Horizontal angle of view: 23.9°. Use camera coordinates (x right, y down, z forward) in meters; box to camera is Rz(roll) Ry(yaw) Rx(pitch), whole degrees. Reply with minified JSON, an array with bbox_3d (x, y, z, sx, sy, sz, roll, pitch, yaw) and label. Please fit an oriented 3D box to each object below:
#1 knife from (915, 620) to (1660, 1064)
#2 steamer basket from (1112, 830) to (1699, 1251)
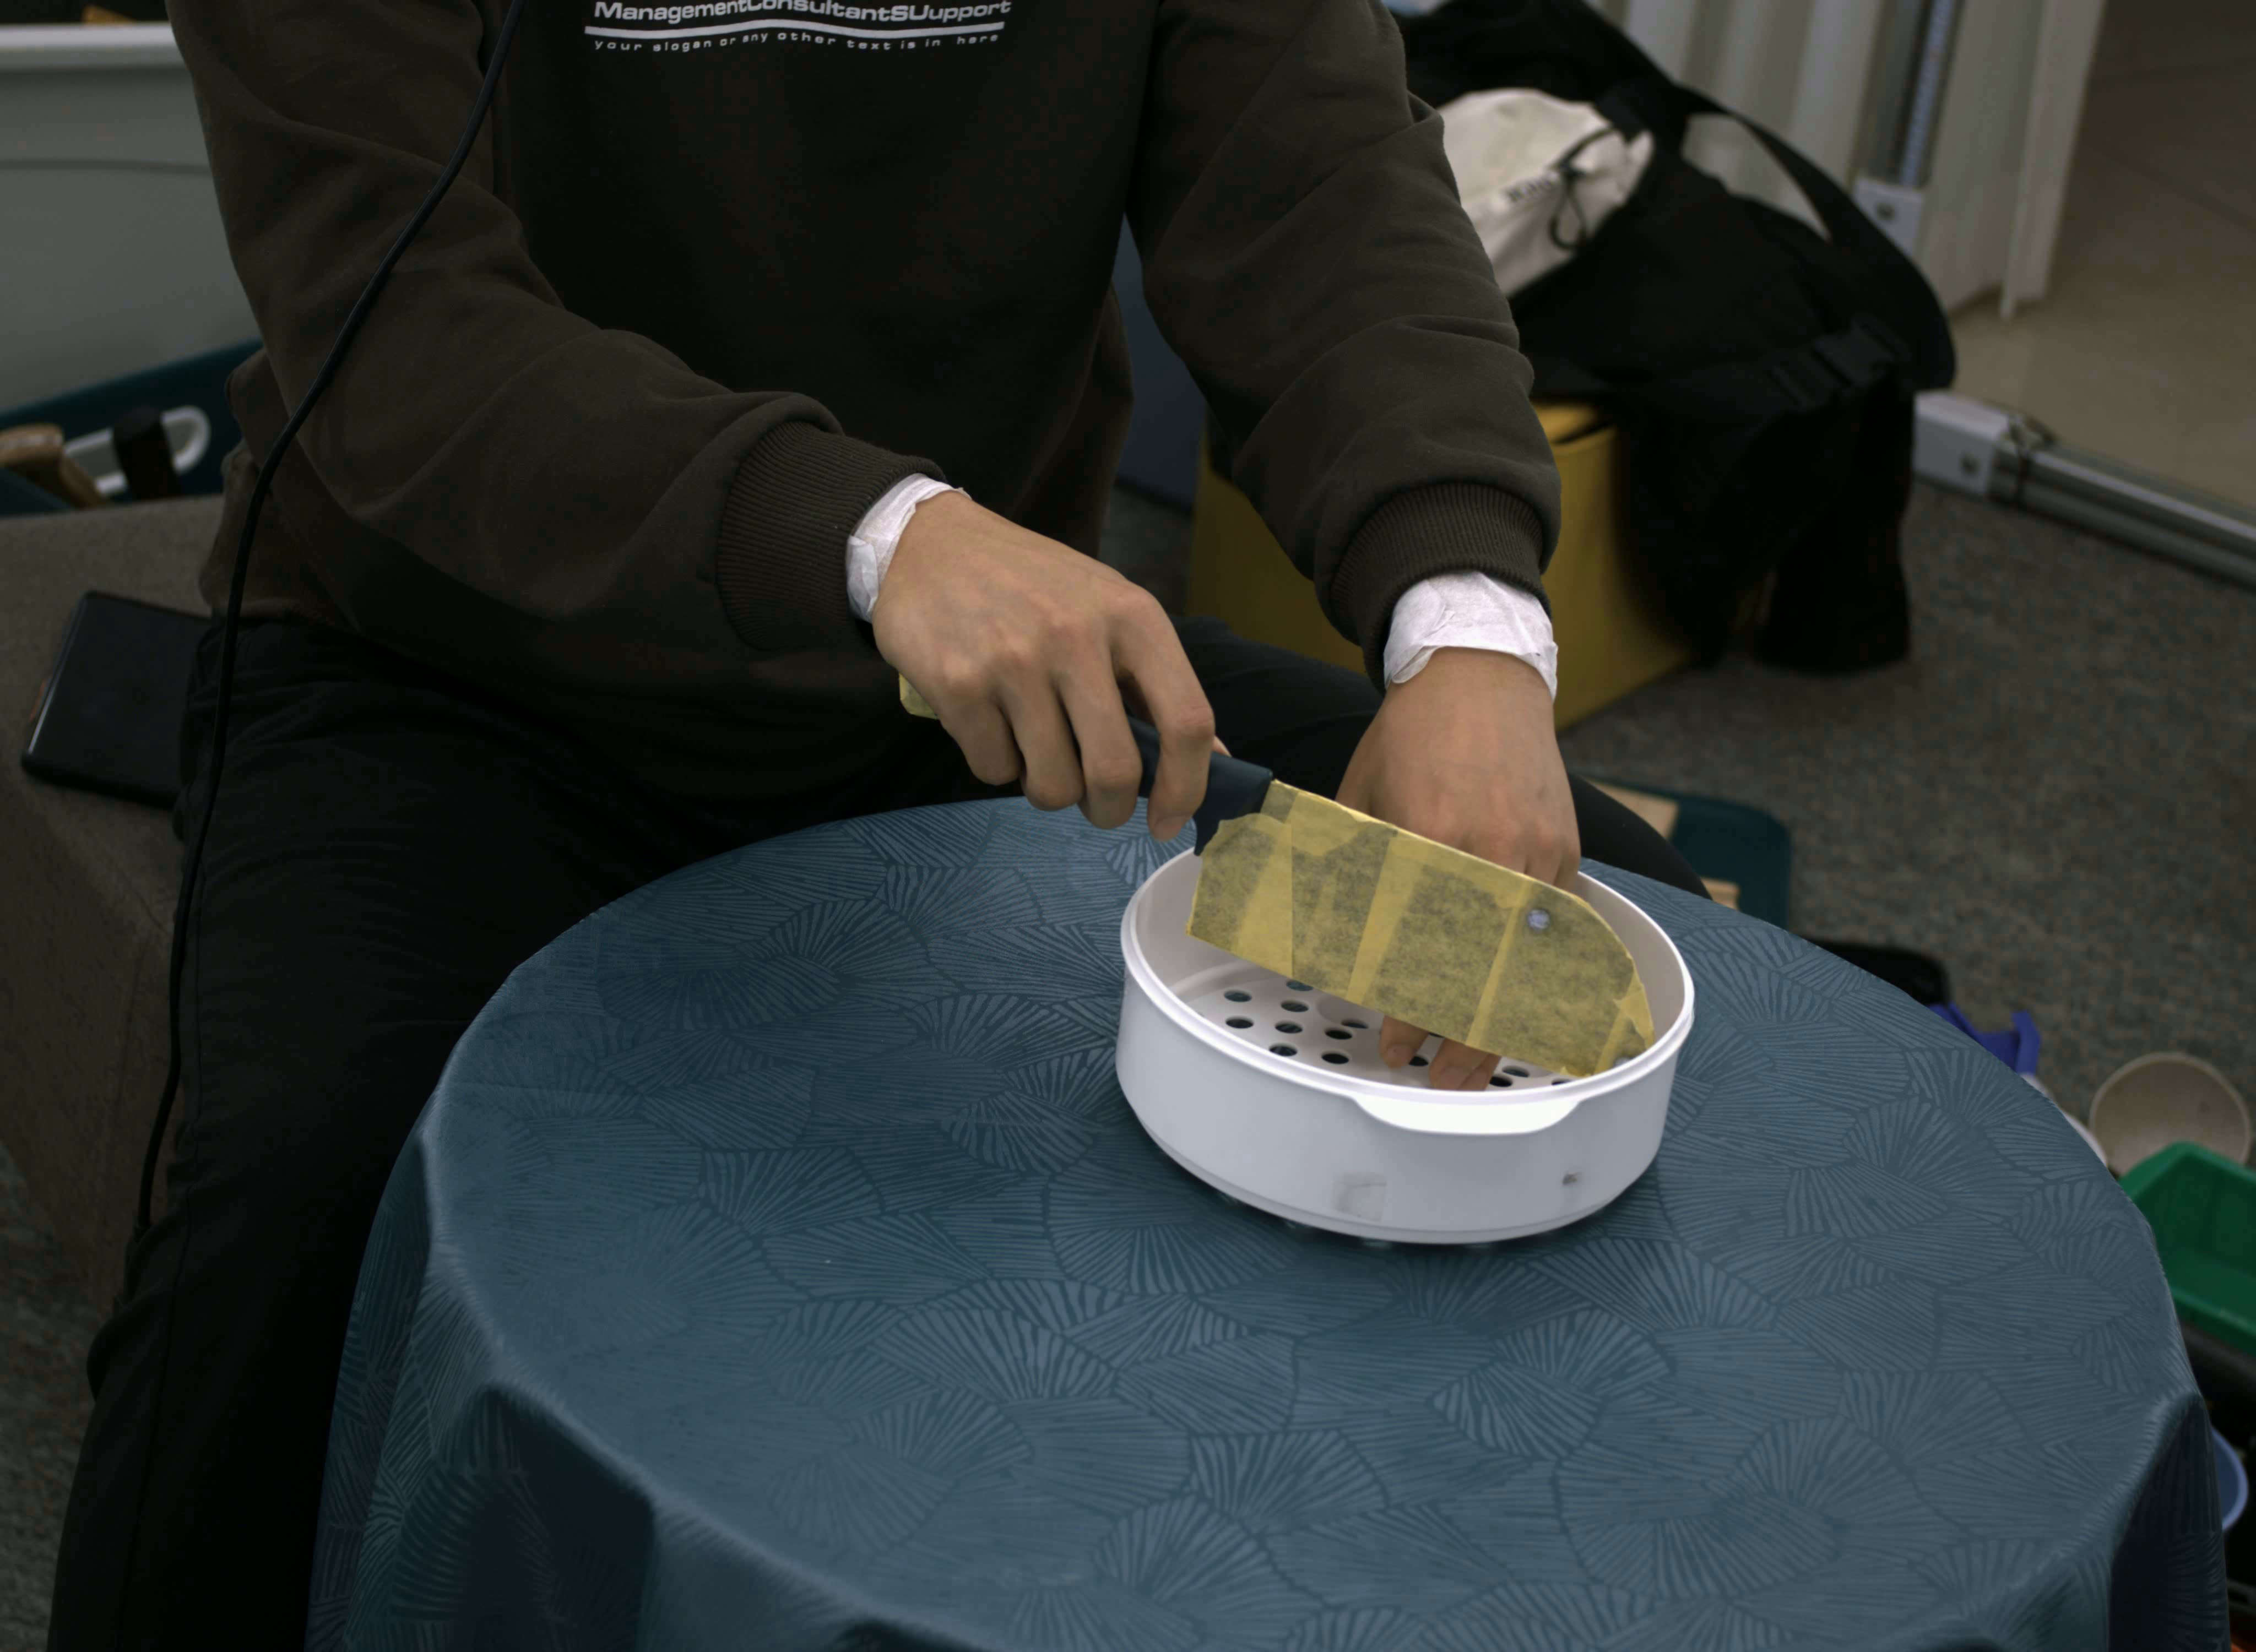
[{"bbox_3d":[0.053,0.008,1.822,0.289,0.081,0.027,28,44,4],"label":"knife"},{"bbox_3d":[0.094,0.075,1.849,0.201,0.069,0.232,3,25,-9],"label":"steamer basket"}]
